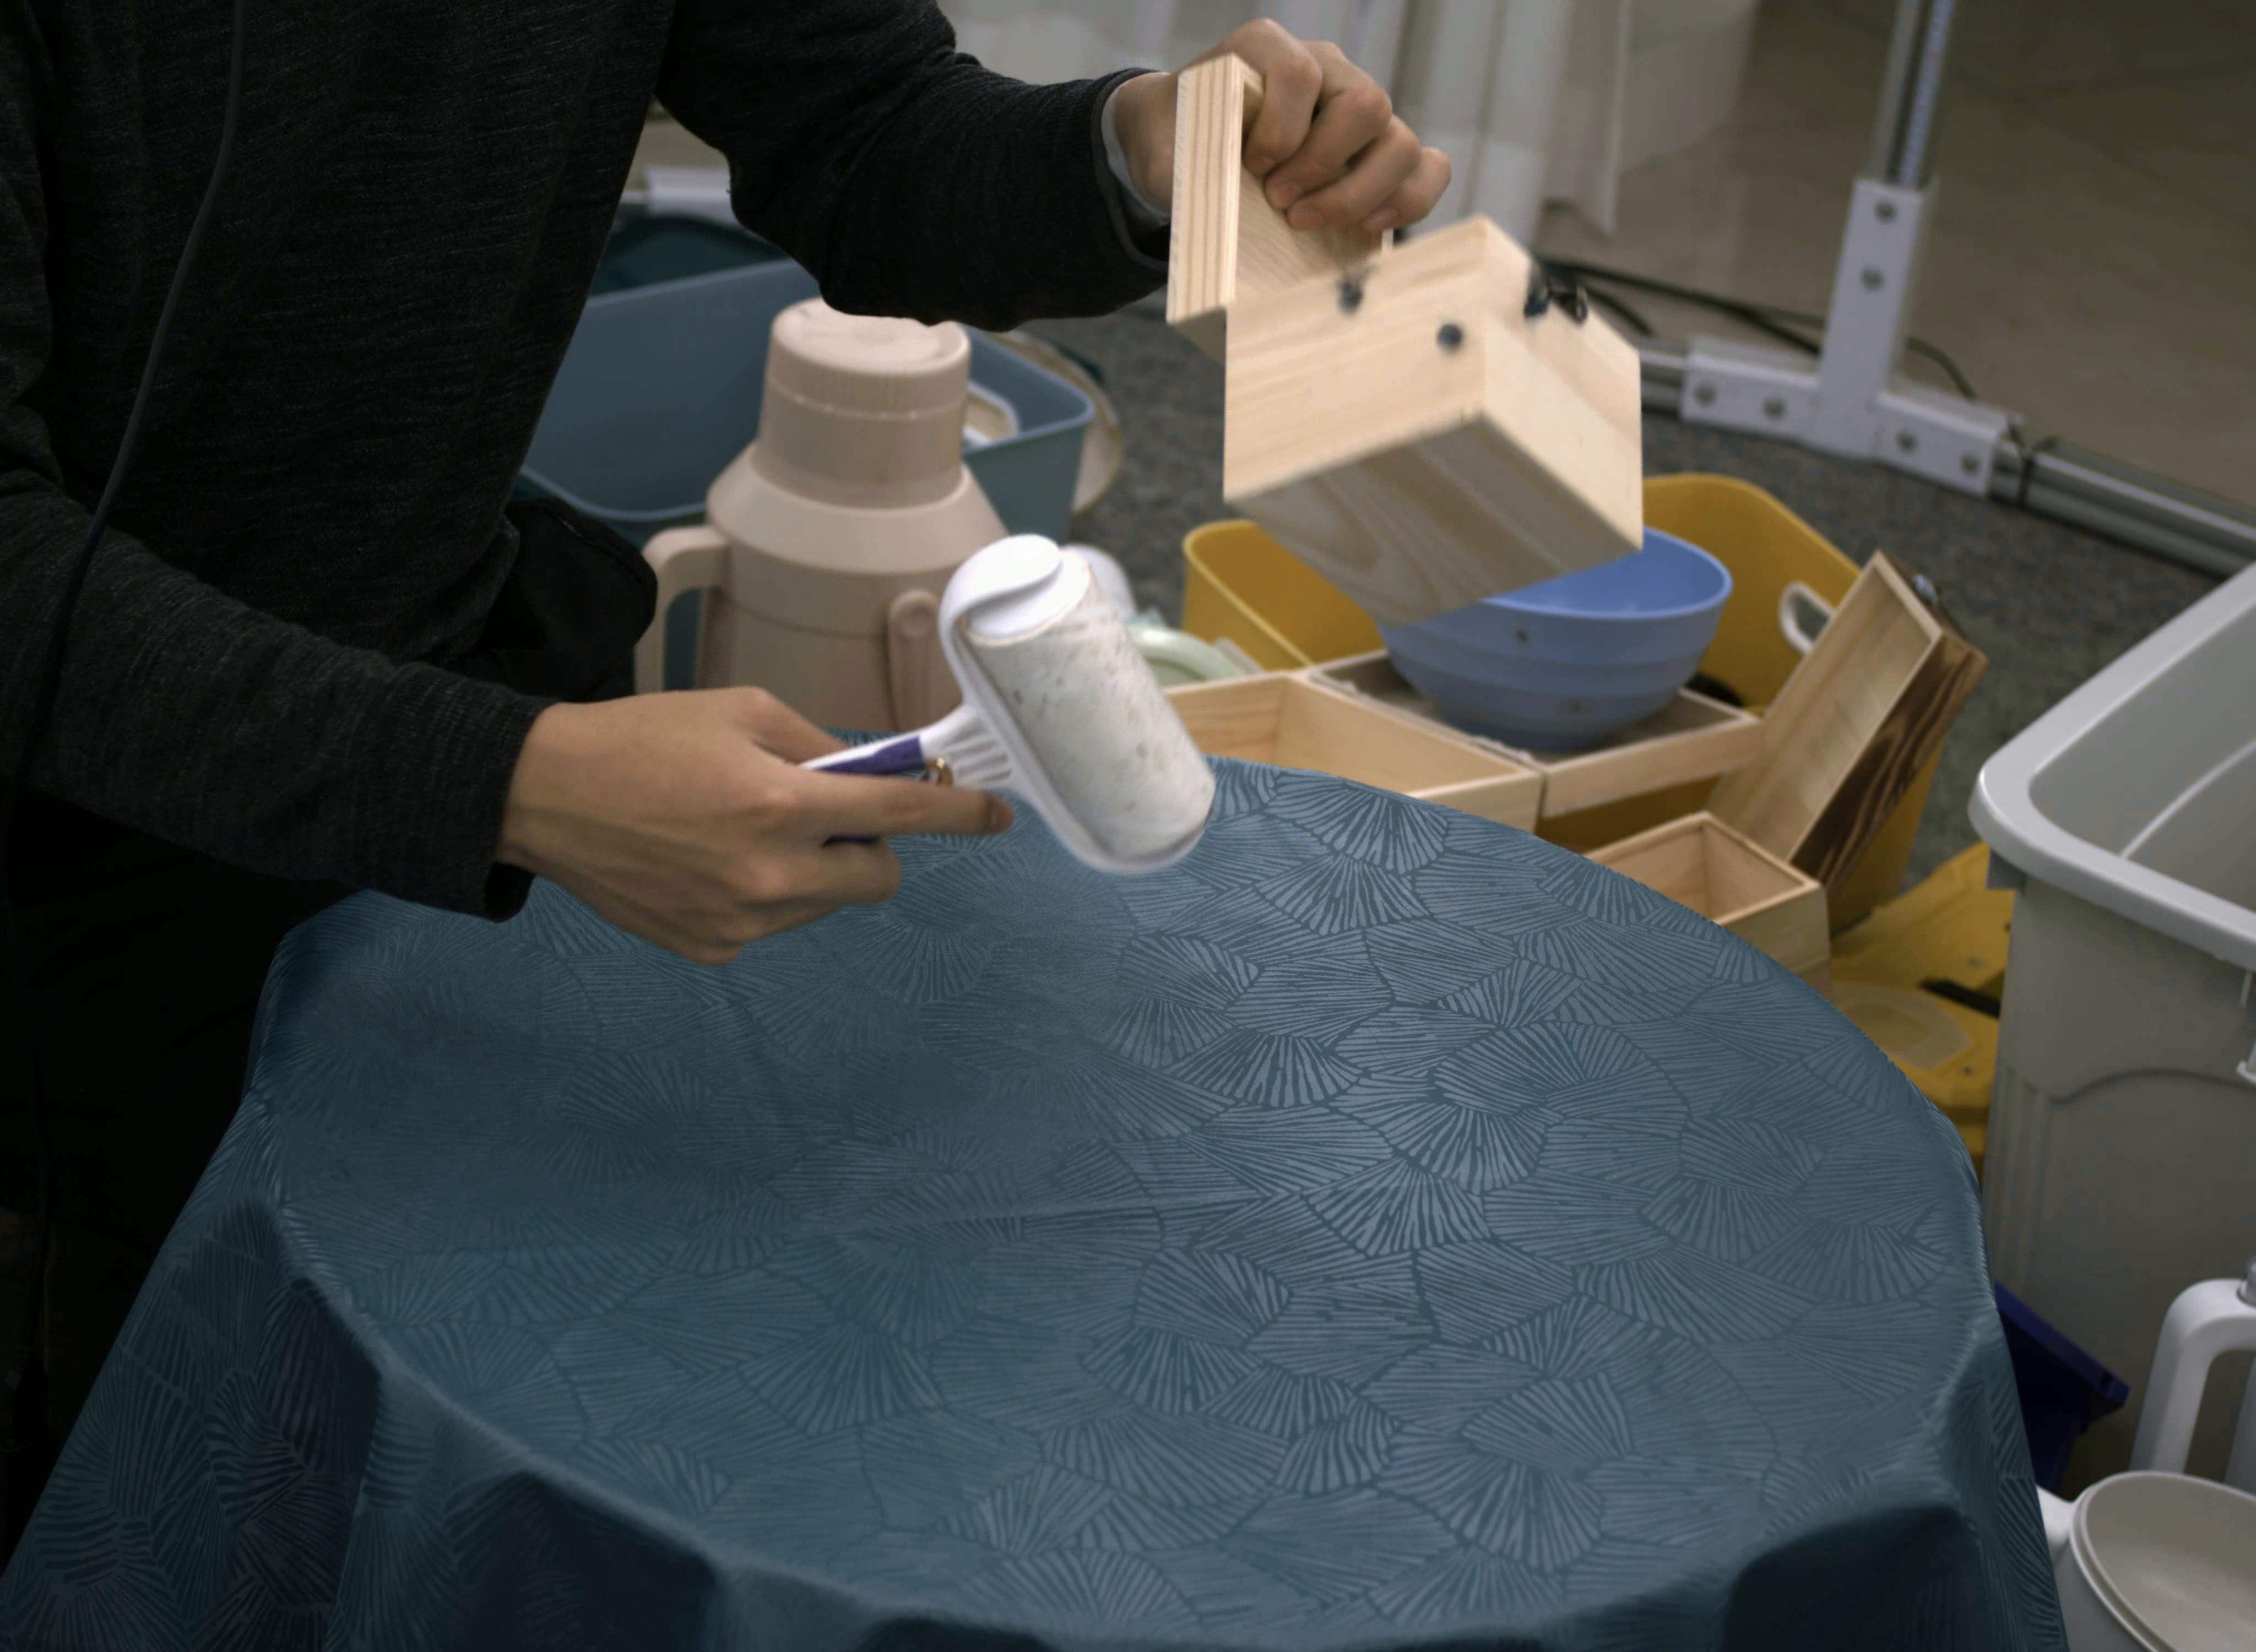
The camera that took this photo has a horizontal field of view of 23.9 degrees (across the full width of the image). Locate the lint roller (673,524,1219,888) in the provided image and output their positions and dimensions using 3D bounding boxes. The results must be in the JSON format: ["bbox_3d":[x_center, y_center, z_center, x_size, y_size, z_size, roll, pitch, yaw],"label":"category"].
[{"bbox_3d":[-0.070,-0.017,1.767,0.180,0.132,0.050,-26,36,6],"label":"lint roller"}]

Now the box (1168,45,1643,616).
[{"bbox_3d":[0.095,-0.182,1.793,0.134,0.101,0.186,-19,54,31],"label":"box"}]
